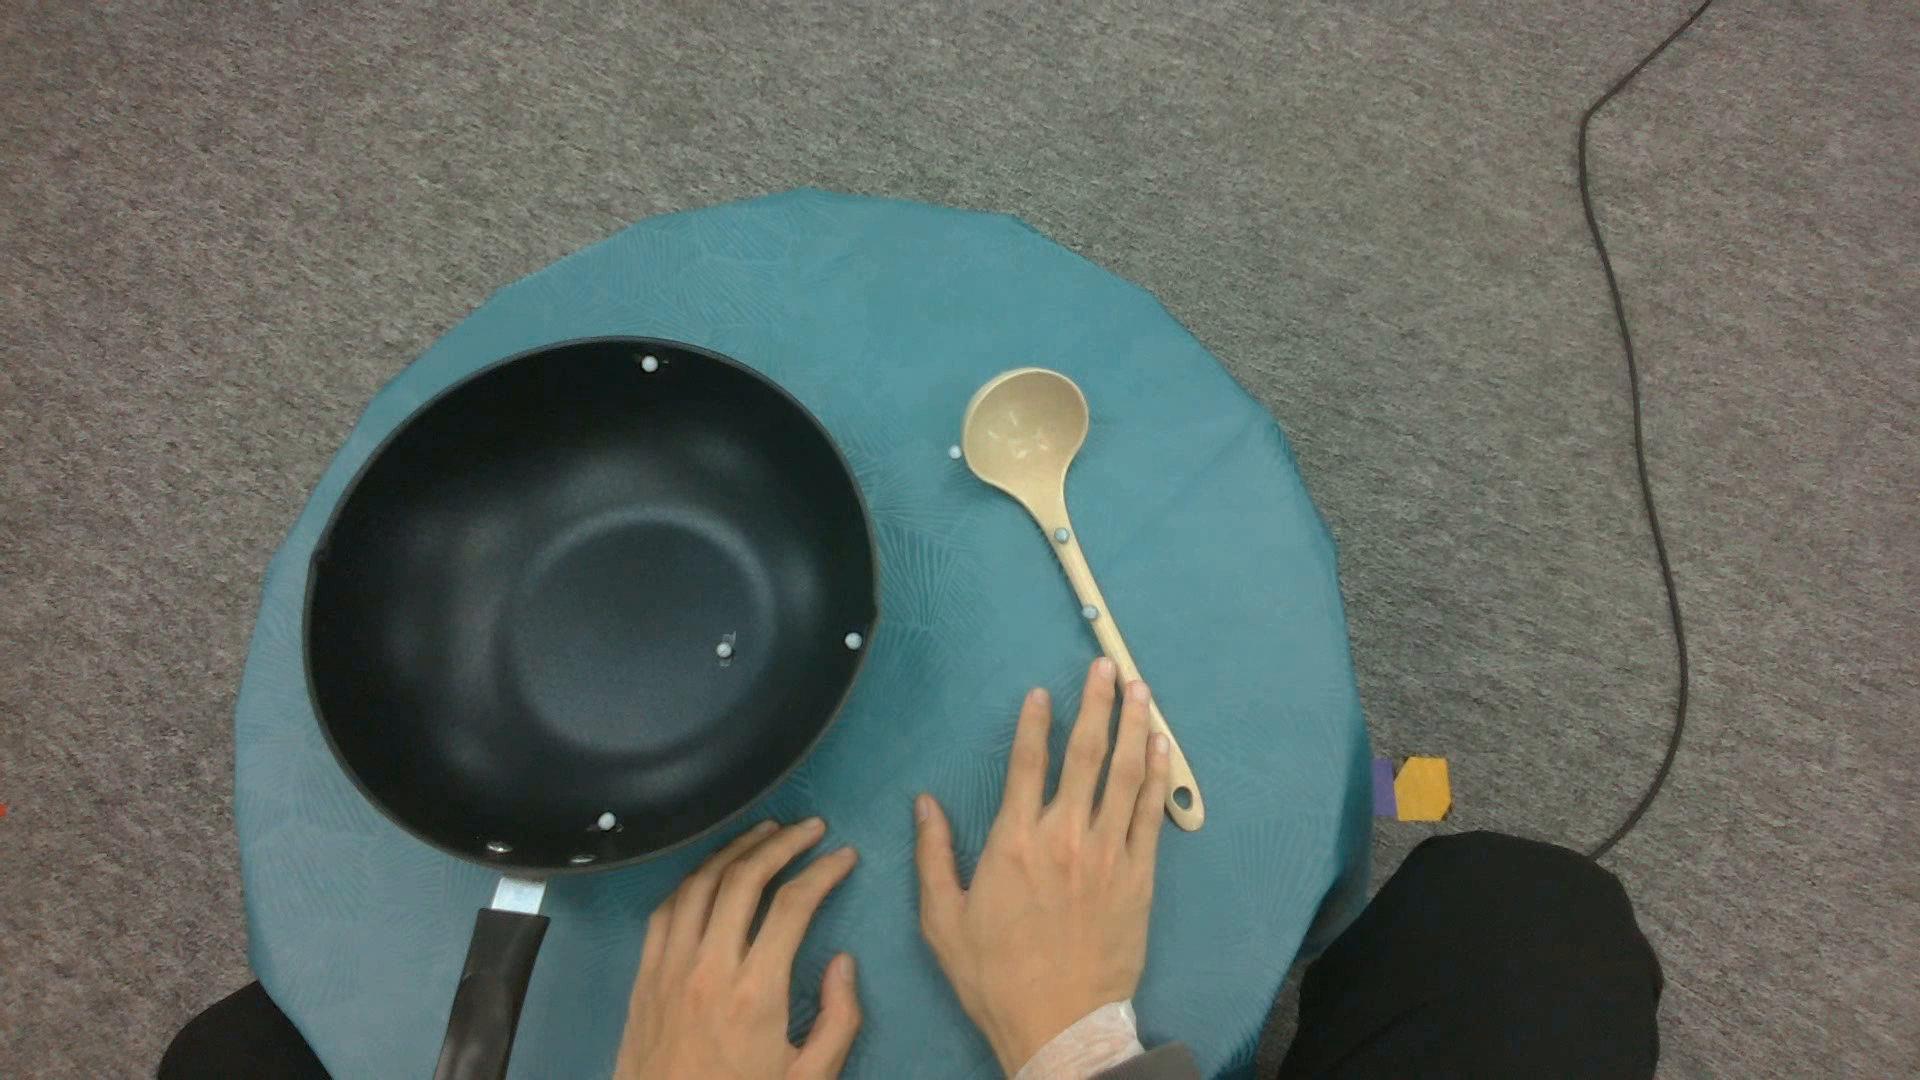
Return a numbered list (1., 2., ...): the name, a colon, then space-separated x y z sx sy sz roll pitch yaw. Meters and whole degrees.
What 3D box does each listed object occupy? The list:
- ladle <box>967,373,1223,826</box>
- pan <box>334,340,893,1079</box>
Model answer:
1. ladle: 0.079 0.025 0.720 0.072 0.072 0.255 -22 68 -10
2. pan: -0.186 0.122 0.693 0.288 0.086 0.465 6 70 6
